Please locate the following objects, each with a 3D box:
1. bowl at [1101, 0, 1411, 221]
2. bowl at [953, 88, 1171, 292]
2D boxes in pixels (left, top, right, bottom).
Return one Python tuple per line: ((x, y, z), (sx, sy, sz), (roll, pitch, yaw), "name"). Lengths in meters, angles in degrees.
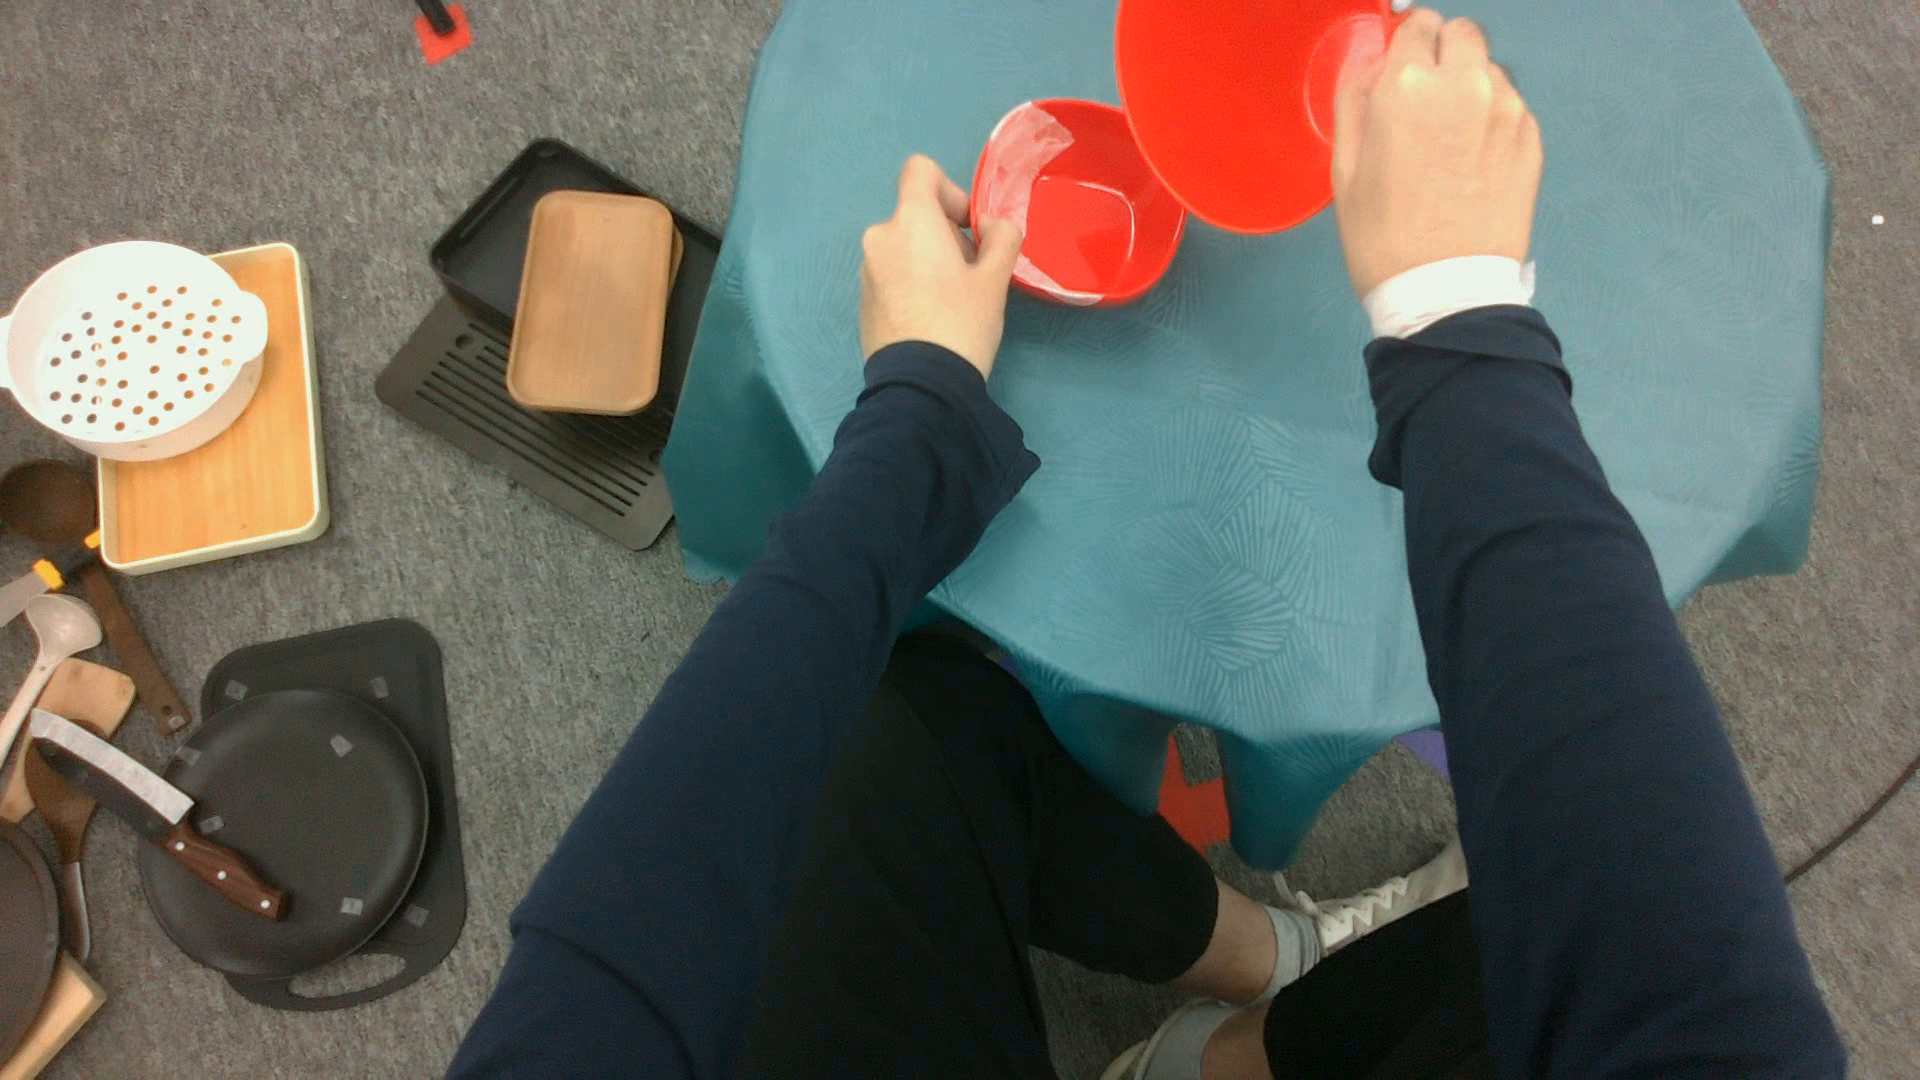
((0.149, -0.226, 0.636), (0.105, 0.147, 0.148), (-18, 73, -36), "bowl")
((0.051, -0.175, 0.723), (0.119, 0.051, 0.119), (1, 72, -3), "bowl")
